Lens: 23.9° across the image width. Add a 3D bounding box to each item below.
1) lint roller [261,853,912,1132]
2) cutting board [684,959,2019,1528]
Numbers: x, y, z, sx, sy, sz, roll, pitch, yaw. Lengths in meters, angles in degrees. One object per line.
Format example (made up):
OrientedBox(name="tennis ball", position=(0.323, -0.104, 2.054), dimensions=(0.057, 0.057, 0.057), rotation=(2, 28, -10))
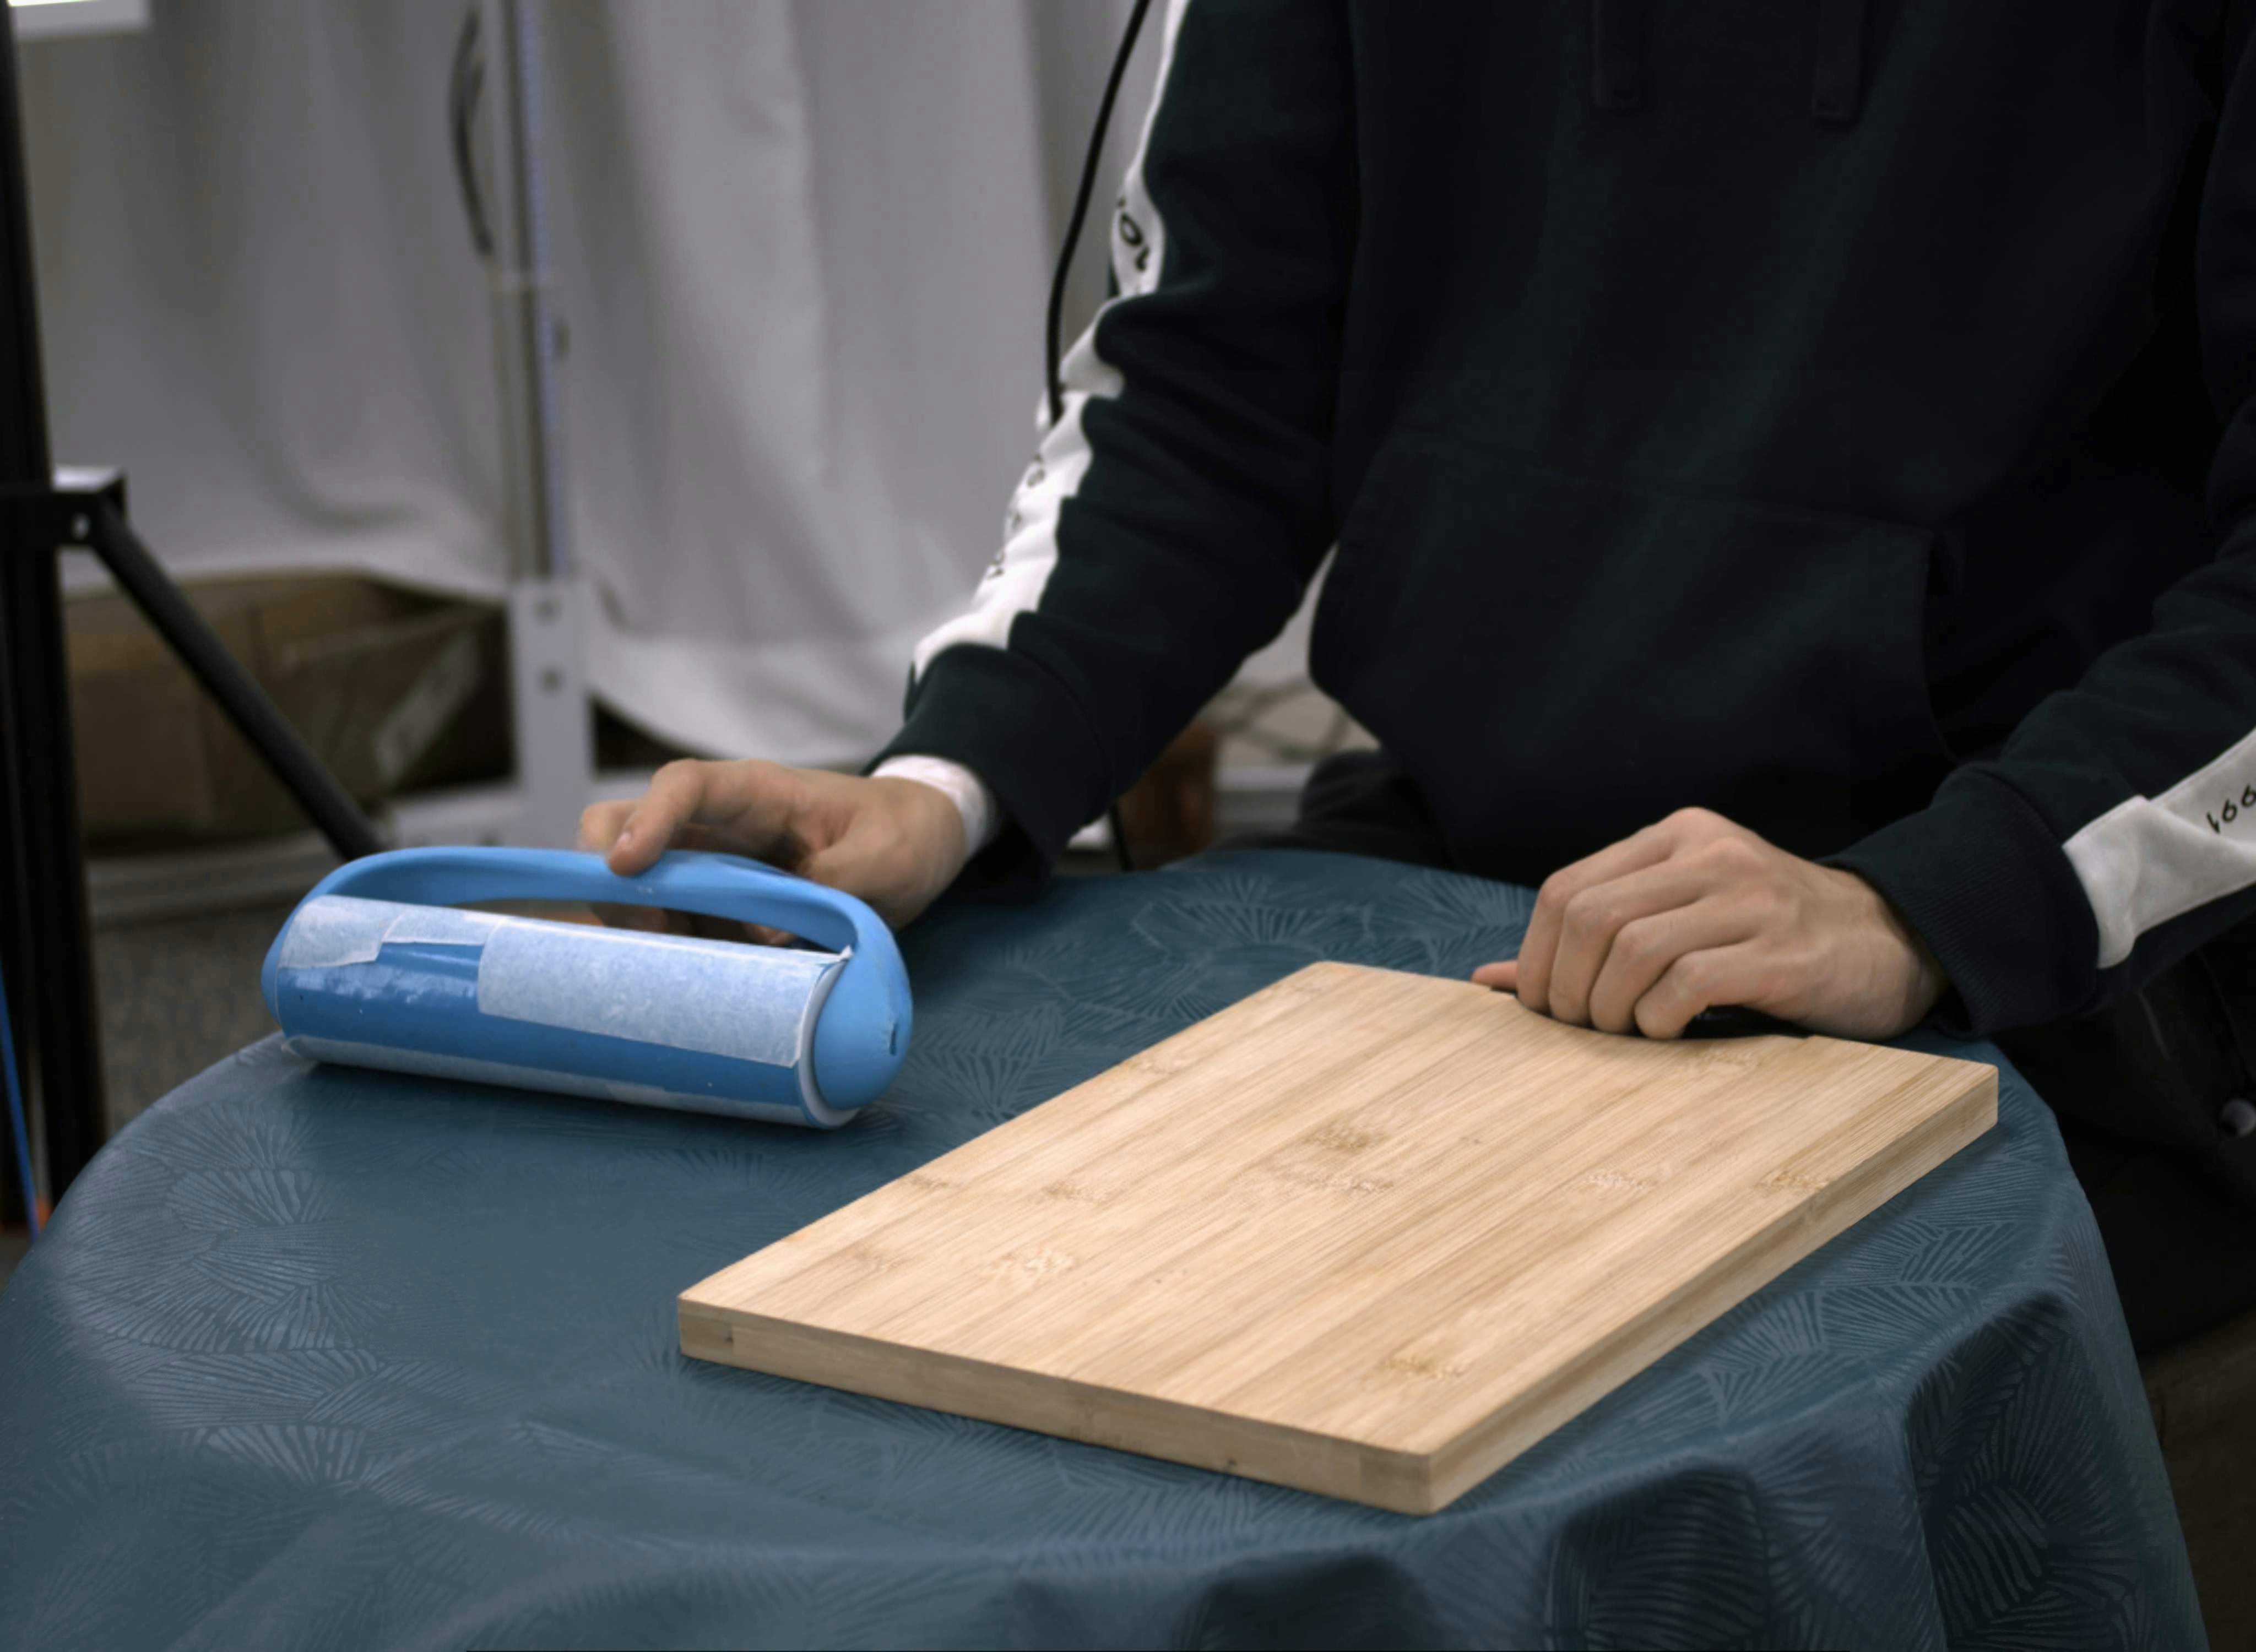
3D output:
OrientedBox(name="lint roller", position=(-0.148, 0.041, 1.716), dimensions=(0.232, 0.068, 0.177), rotation=(3, 17, 25))
OrientedBox(name="cutting board", position=(0.071, 0.109, 1.514), dimensions=(0.255, 0.023, 0.342), rotation=(8, 19, 33))
